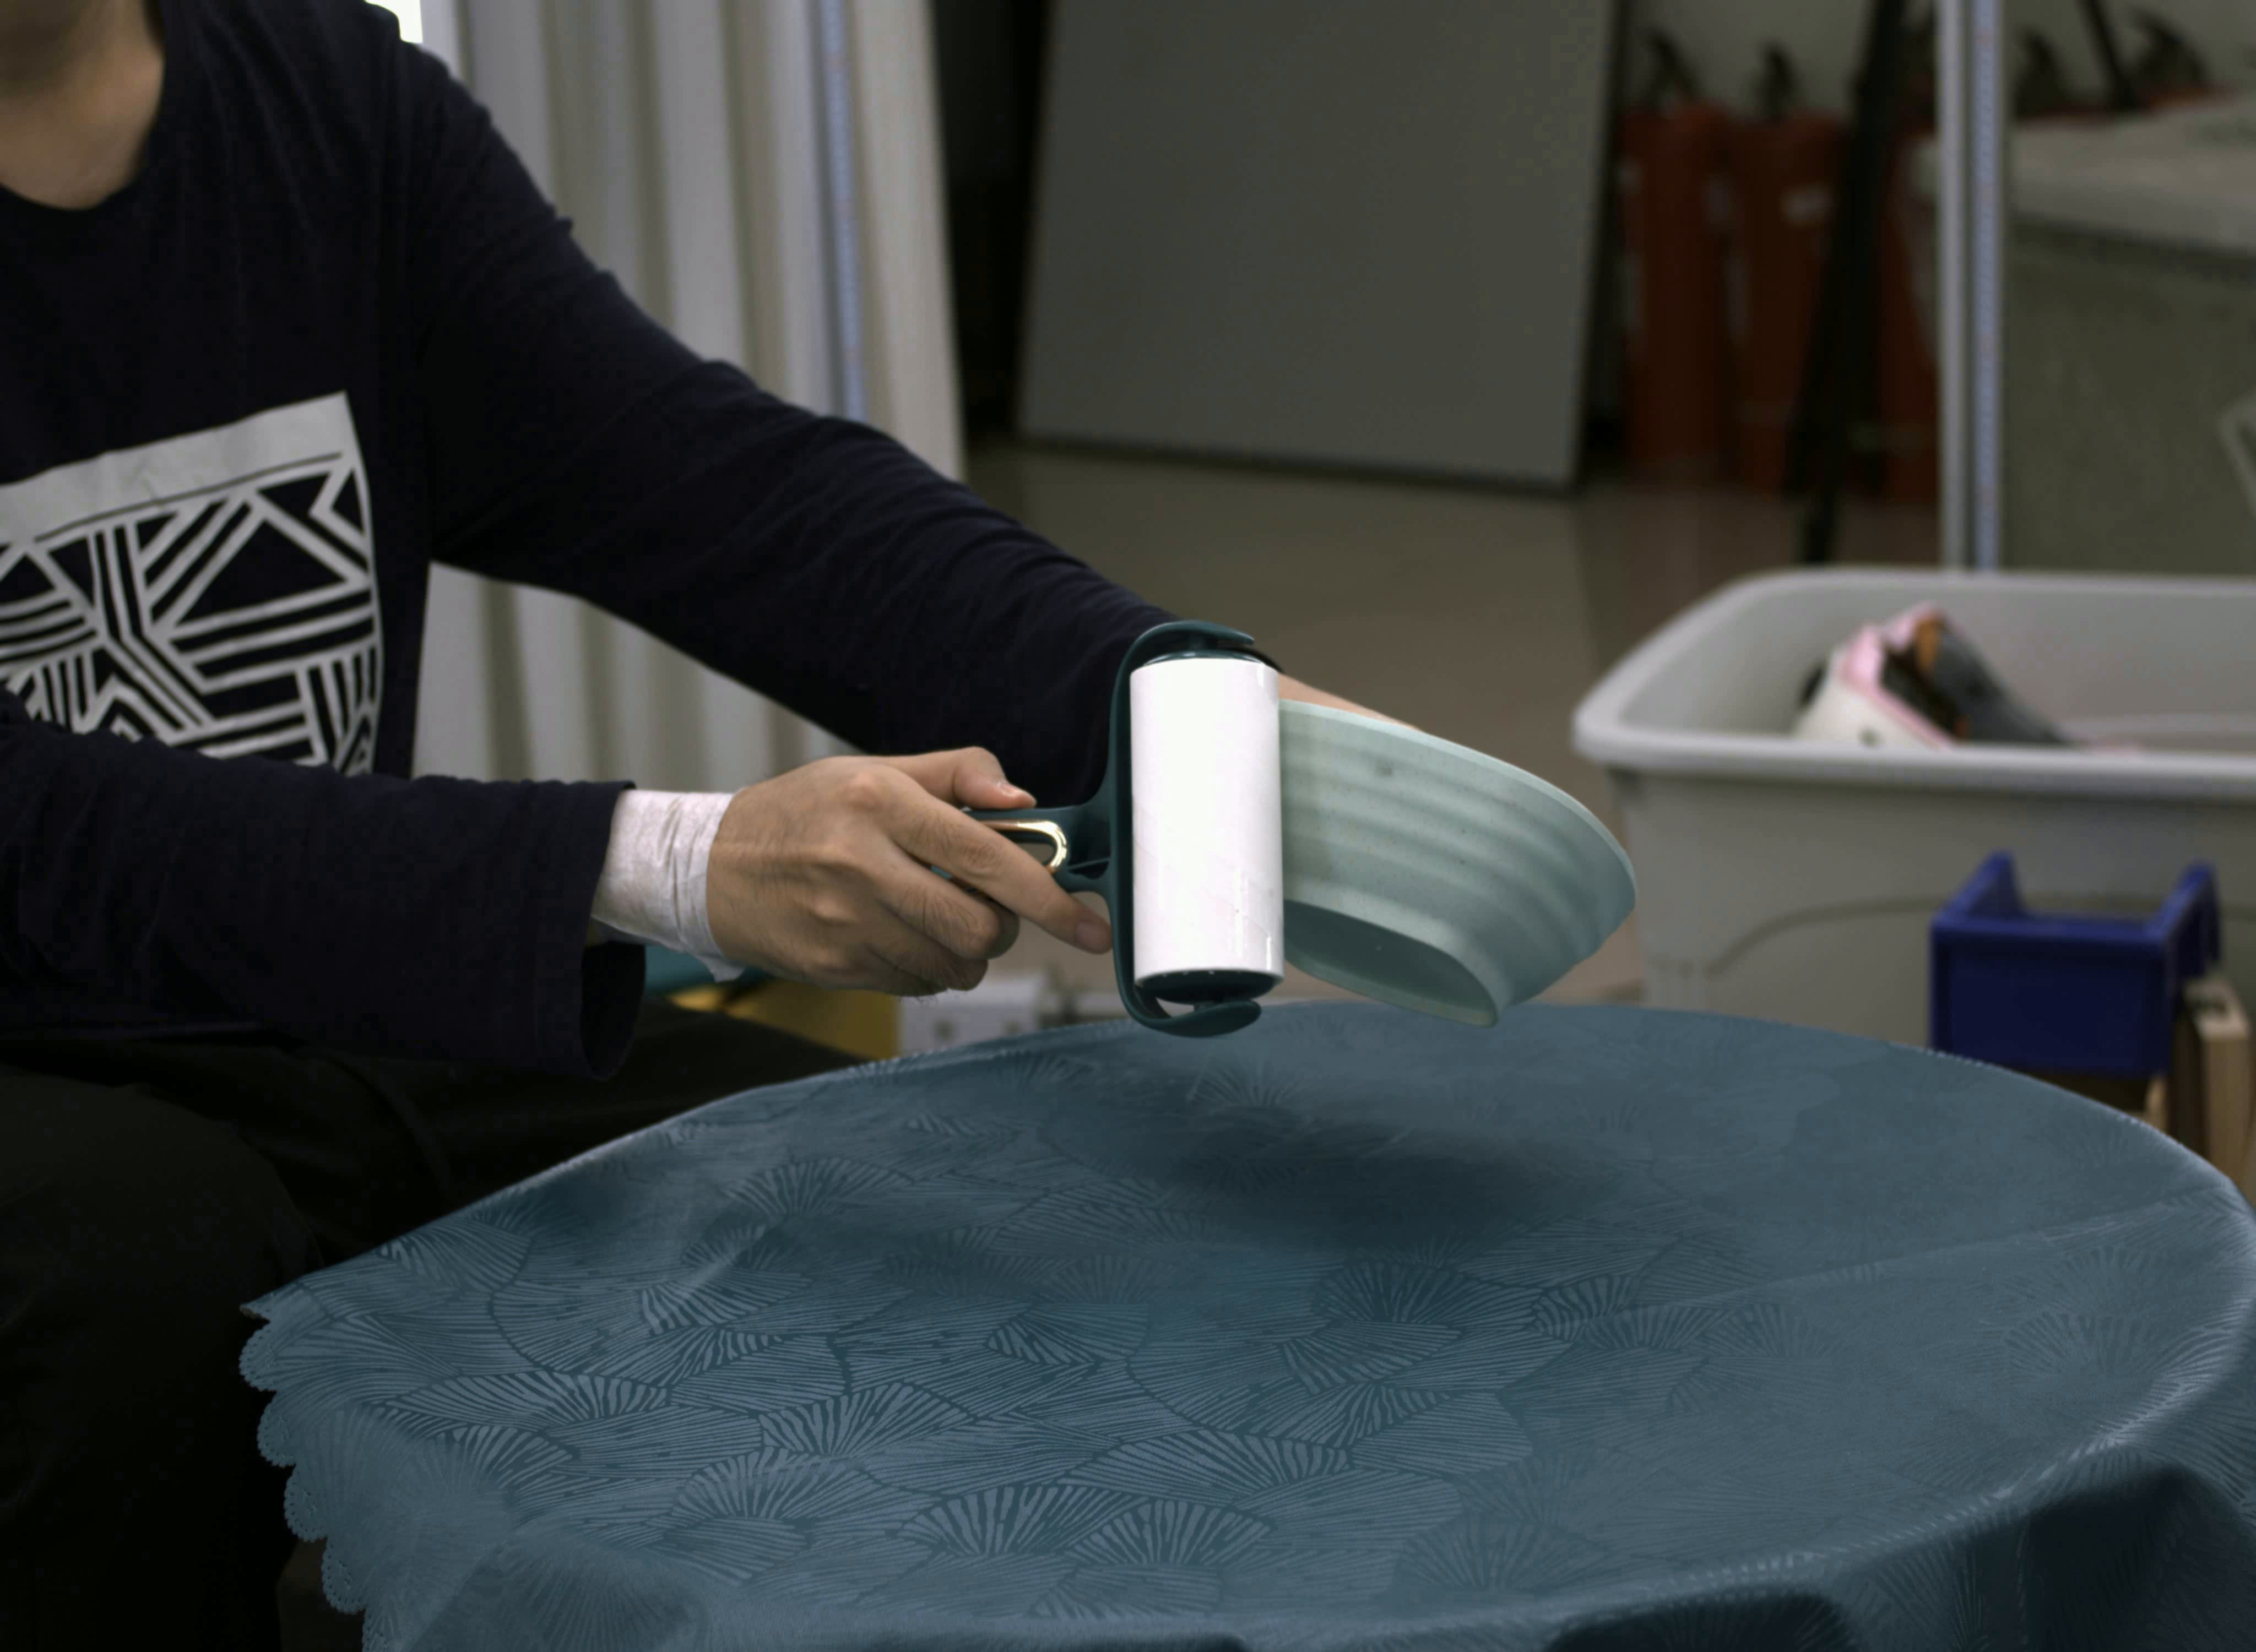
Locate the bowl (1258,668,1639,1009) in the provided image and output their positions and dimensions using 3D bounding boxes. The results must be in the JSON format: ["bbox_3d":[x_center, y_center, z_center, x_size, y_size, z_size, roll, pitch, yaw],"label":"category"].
[{"bbox_3d":[0.090,0.011,1.737,0.150,0.059,0.151,28,-6,2],"label":"bowl"}]

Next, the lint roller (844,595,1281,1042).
[{"bbox_3d":[-0.031,0.009,1.720,0.181,0.136,0.047,-10,-15,34],"label":"lint roller"}]
